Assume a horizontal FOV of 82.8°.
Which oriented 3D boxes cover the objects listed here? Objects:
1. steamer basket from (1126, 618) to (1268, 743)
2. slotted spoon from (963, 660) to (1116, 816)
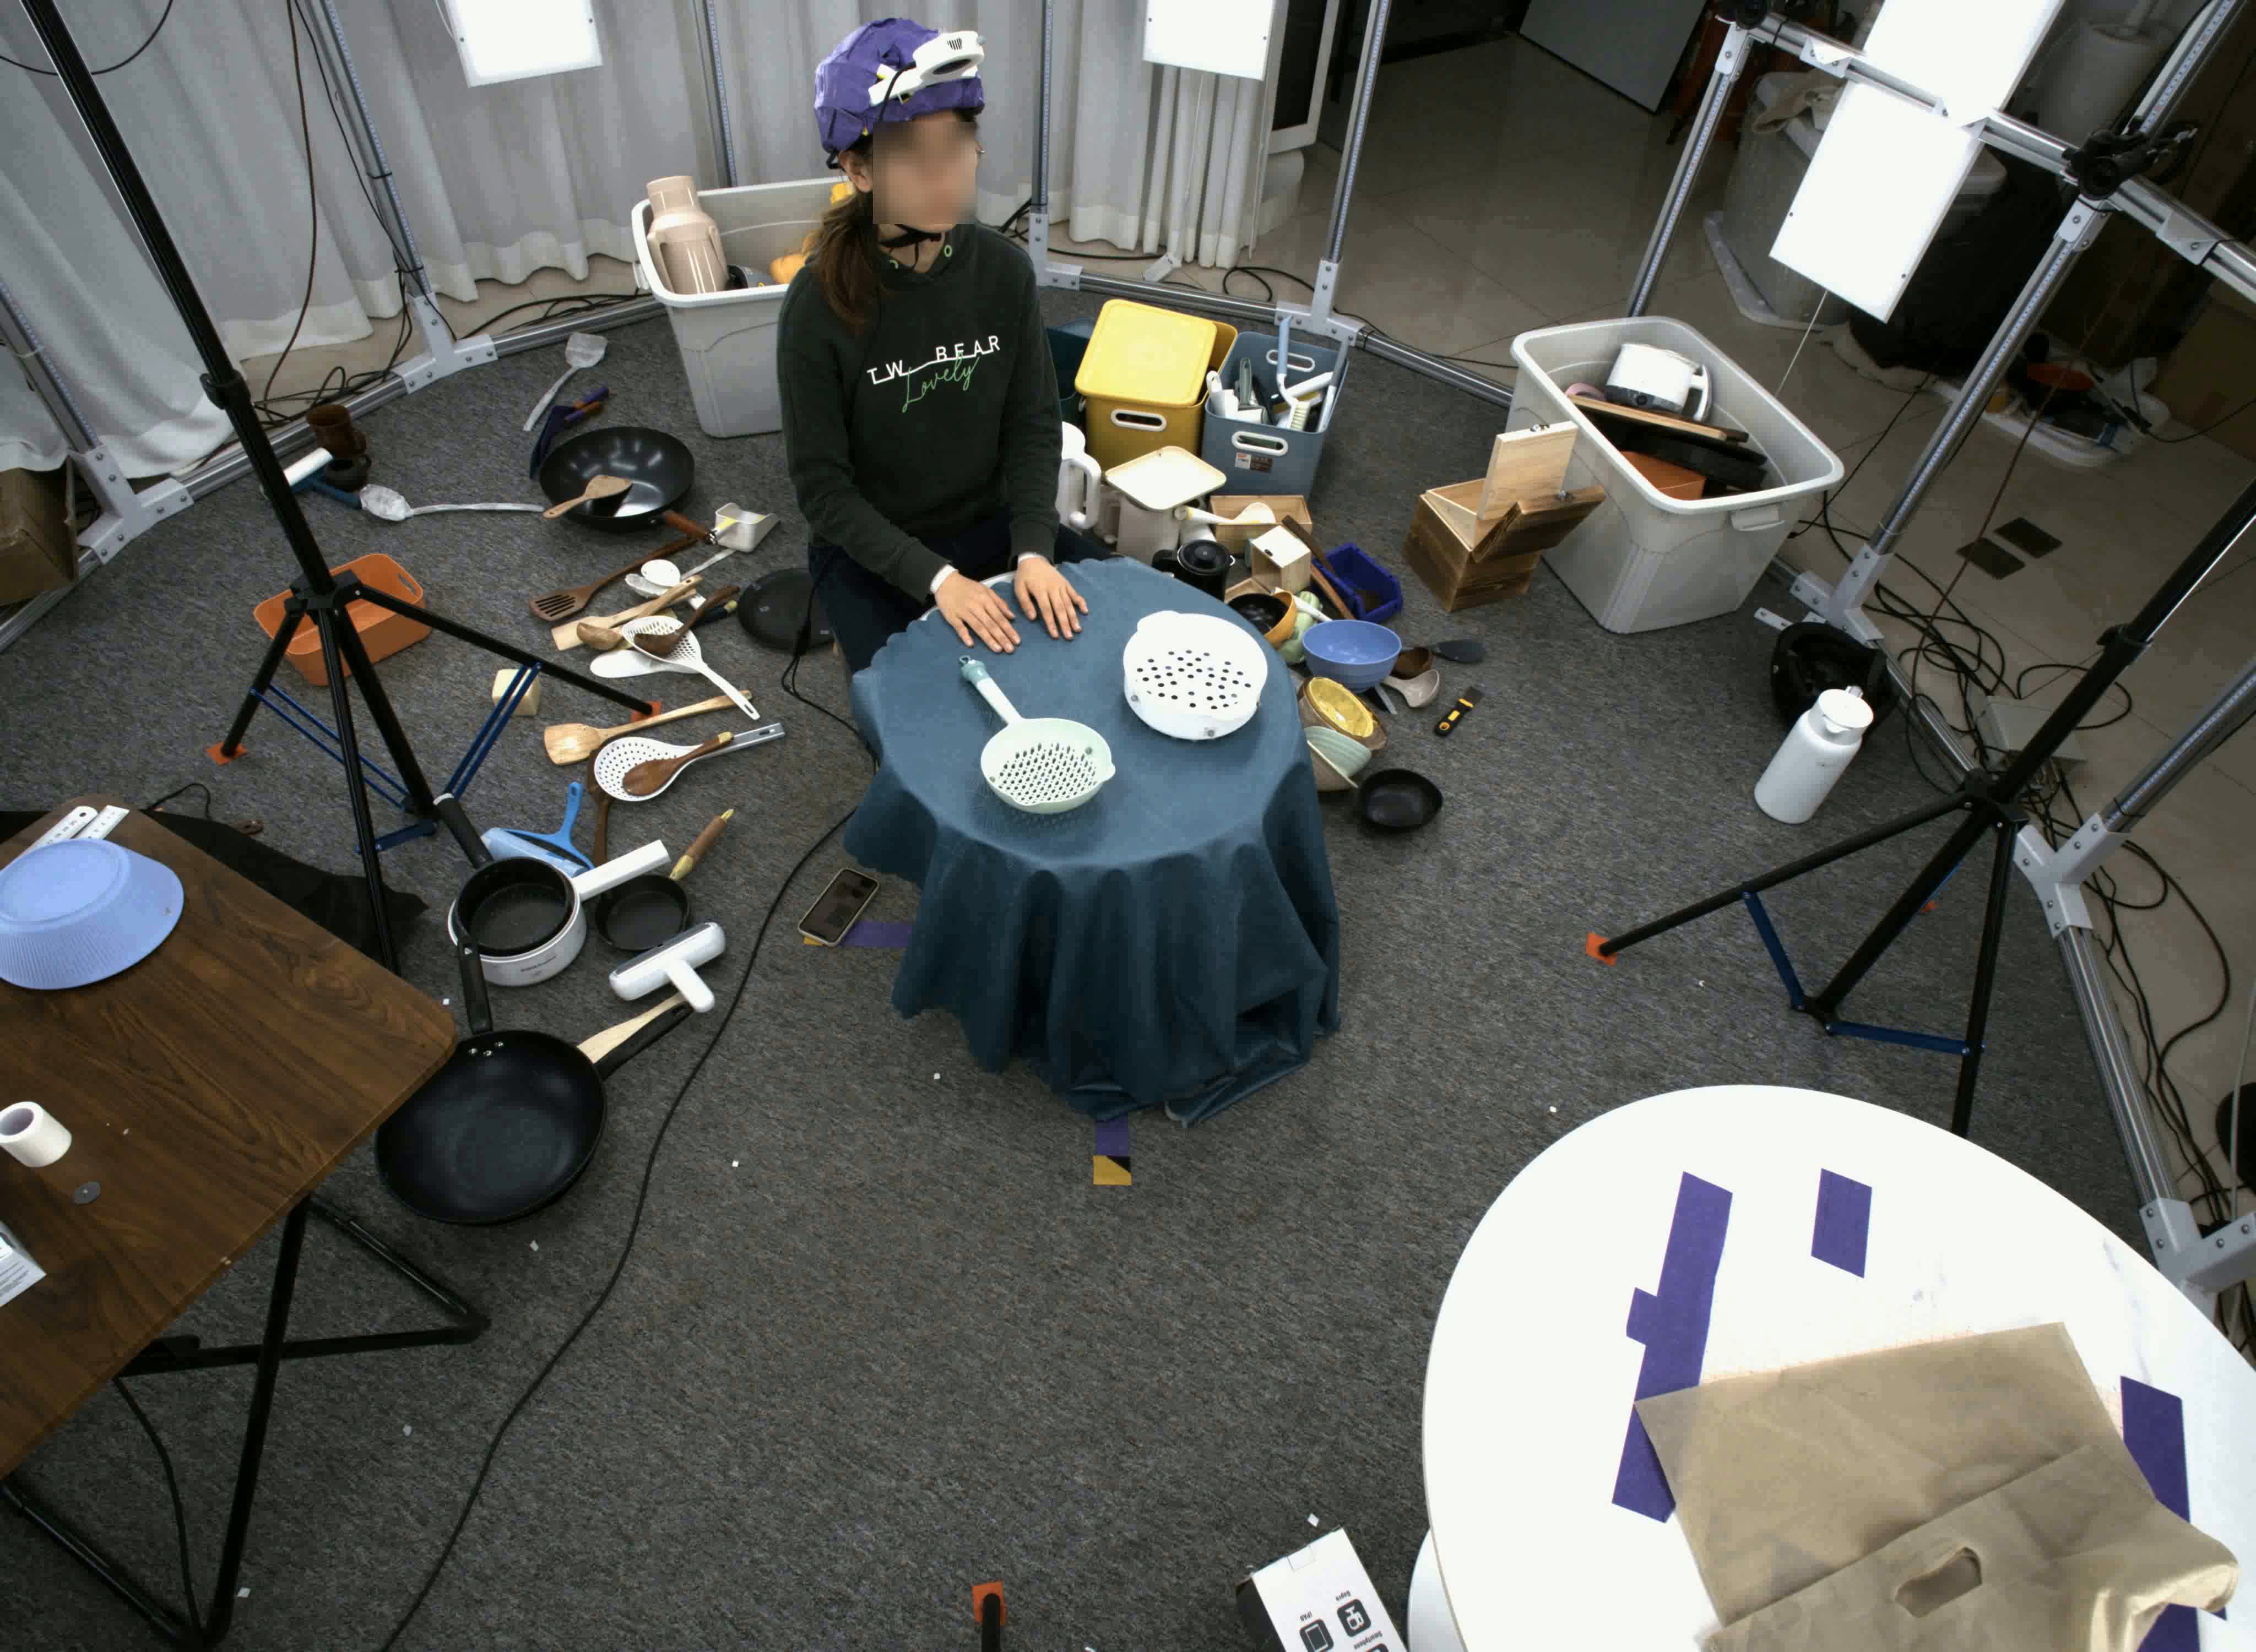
[{"bbox_3d":[0.096,-0.204,1.827,0.202,0.067,0.235,-23,53,-23],"label":"steamer basket"},{"bbox_3d":[-0.151,-0.136,1.751,0.169,0.073,0.367,-19,53,-20],"label":"slotted spoon"}]
